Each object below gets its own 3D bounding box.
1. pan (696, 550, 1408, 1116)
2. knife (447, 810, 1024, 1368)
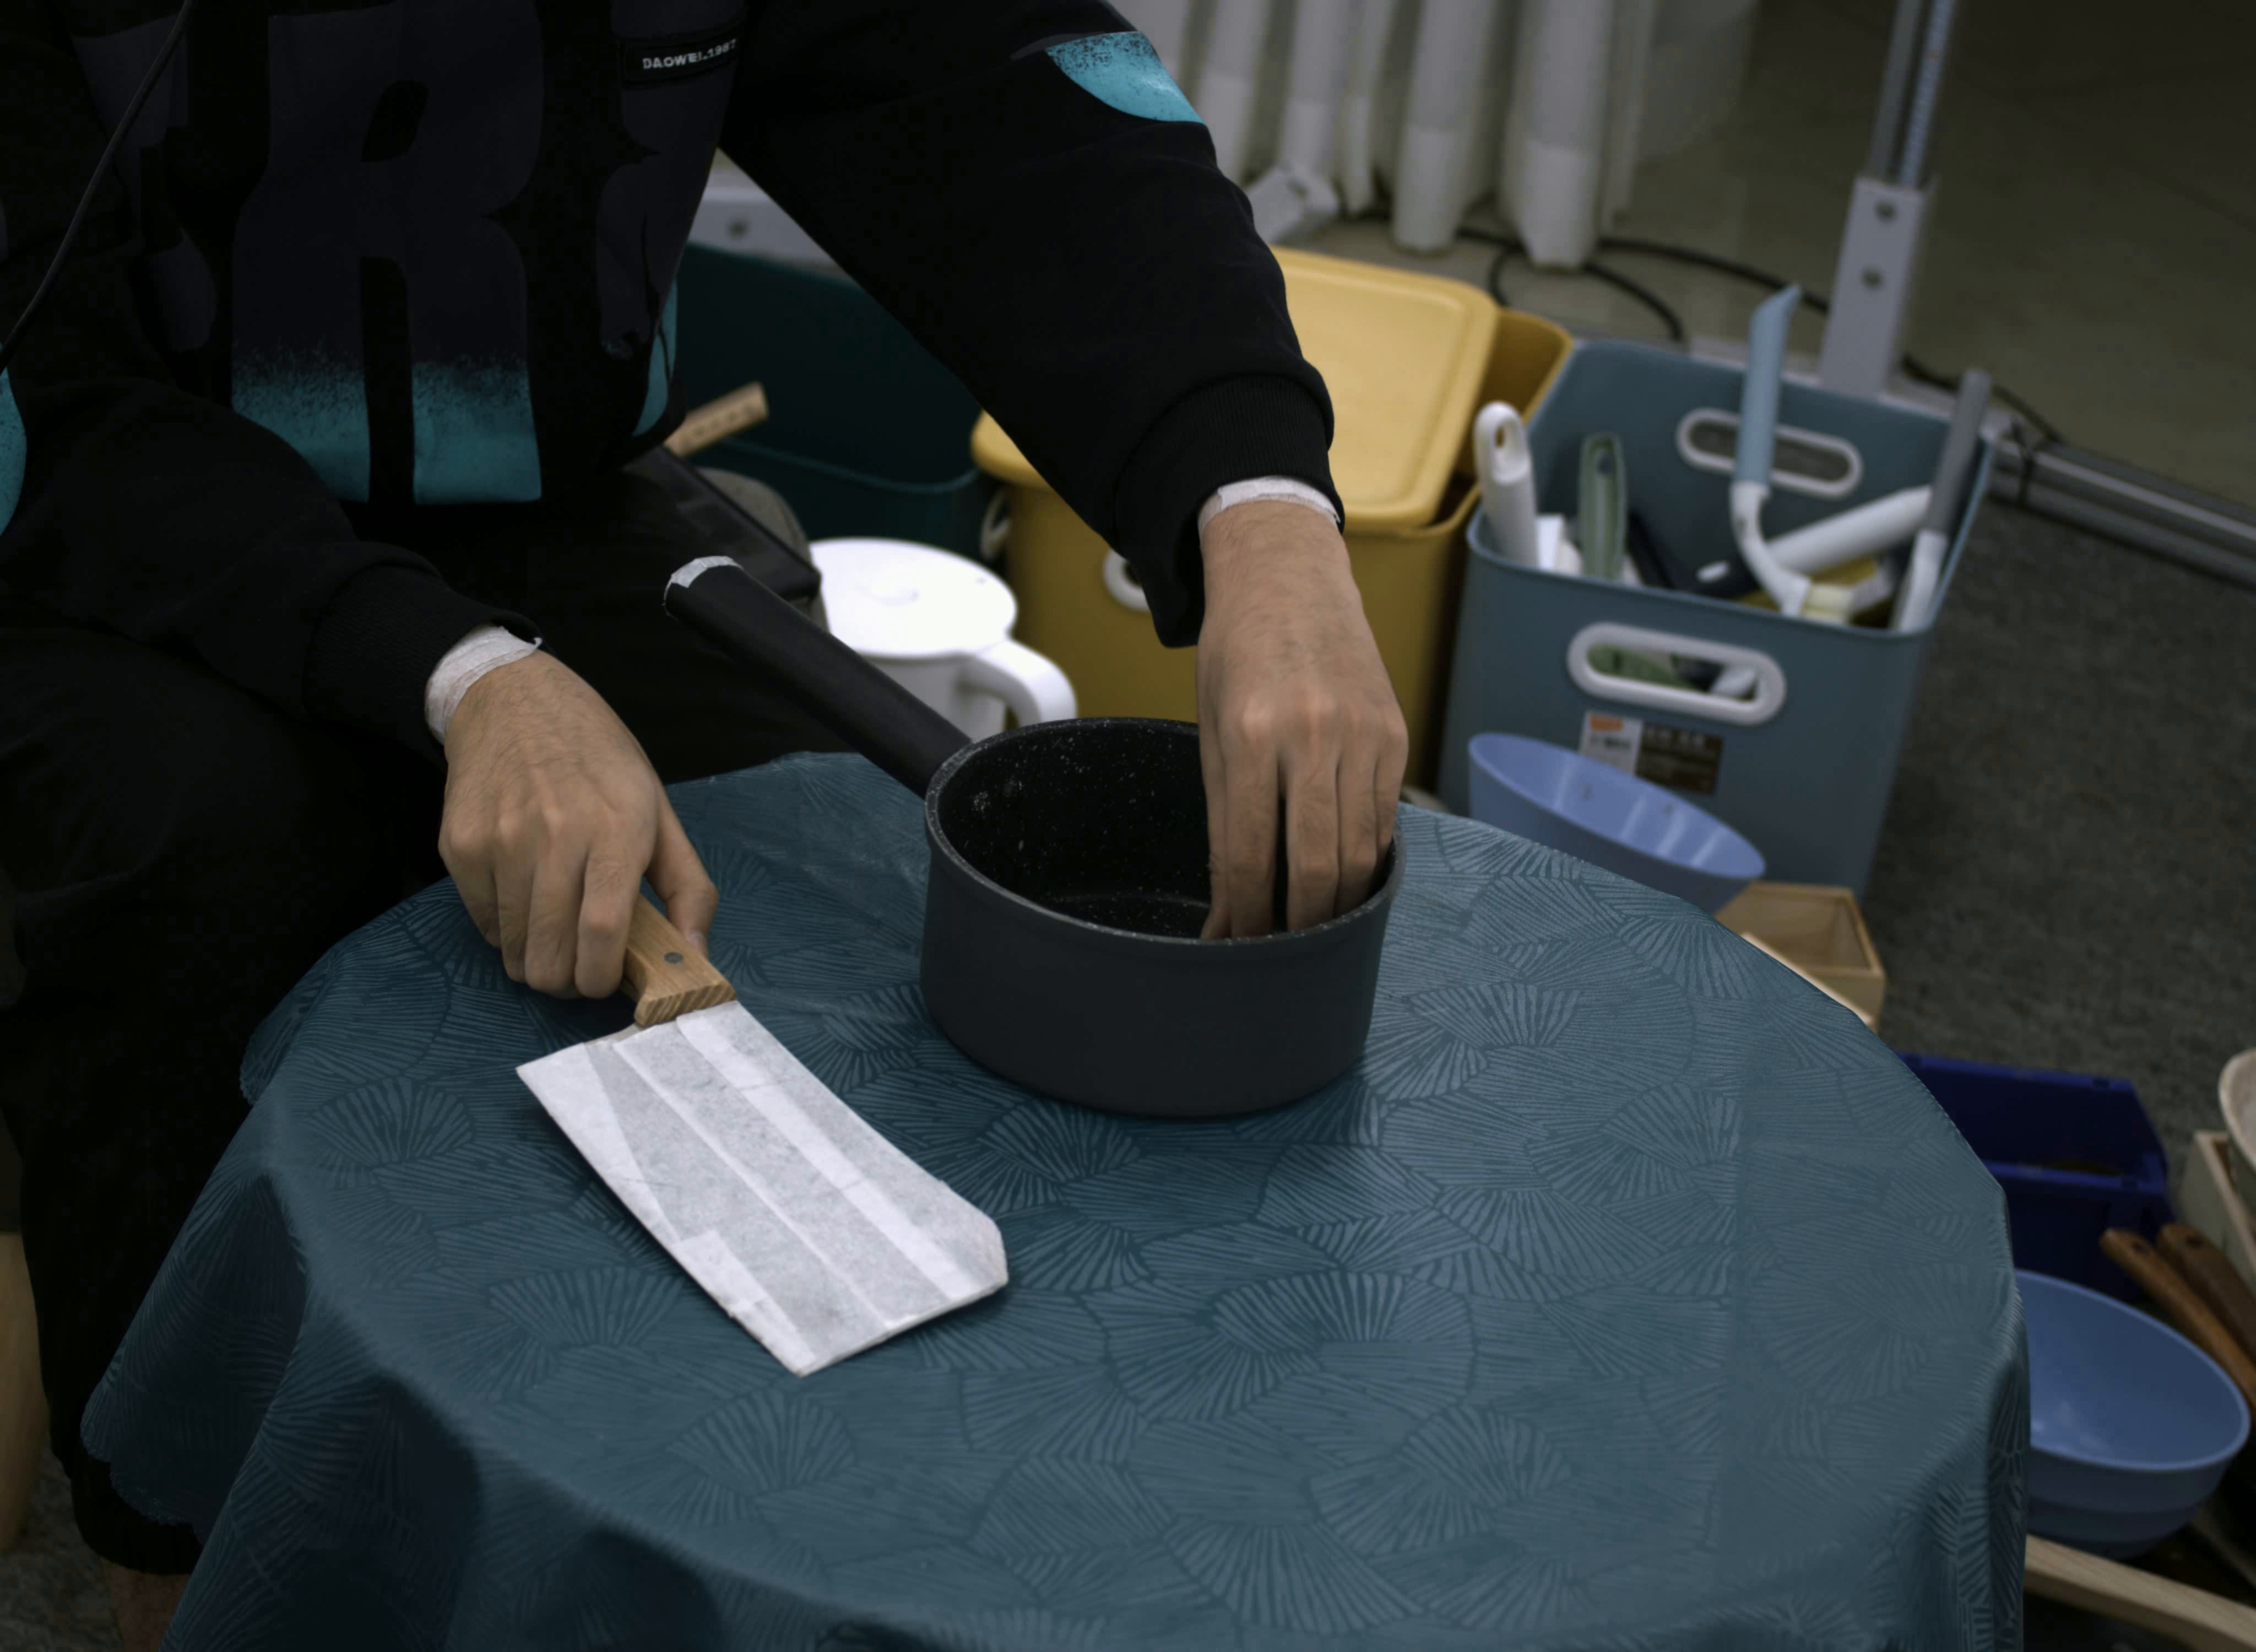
[{"bbox_3d":[-0.046,-0.001,1.943,0.171,0.086,0.331,-18,36,-43],"label":"pan"},{"bbox_3d":[-0.147,0.083,1.810,0.113,0.021,0.318,-16,39,-27],"label":"knife"}]
